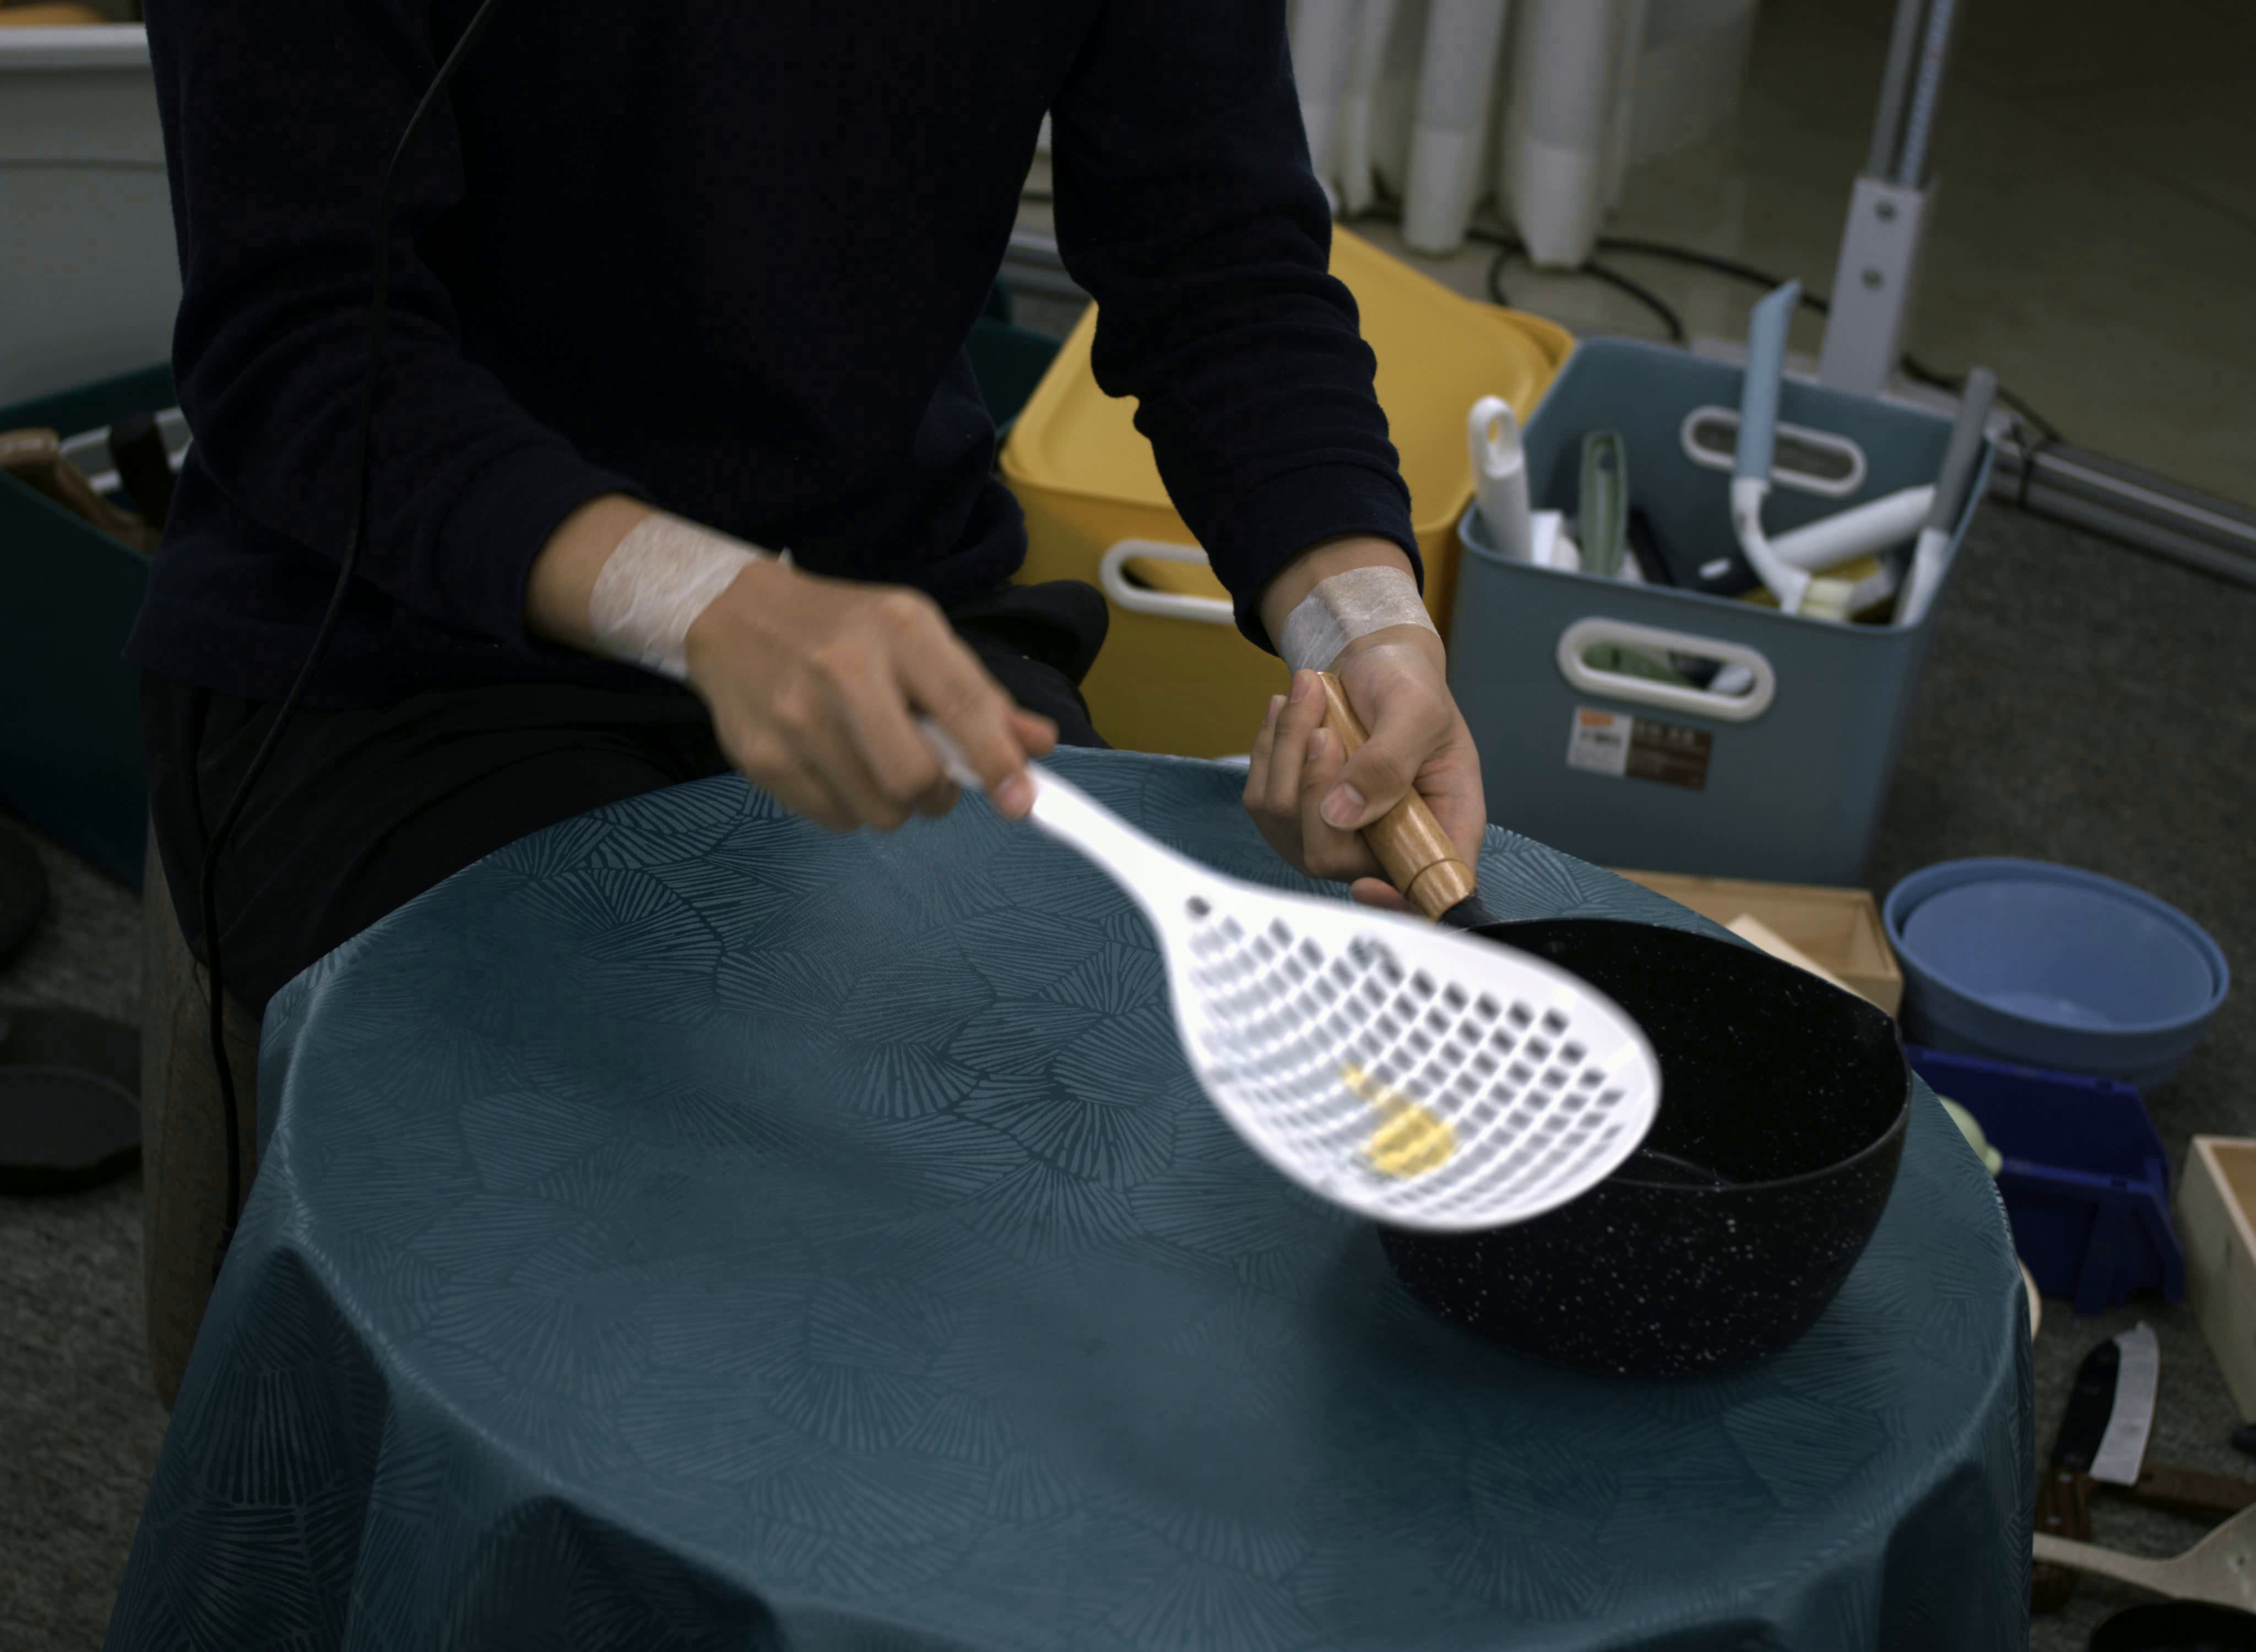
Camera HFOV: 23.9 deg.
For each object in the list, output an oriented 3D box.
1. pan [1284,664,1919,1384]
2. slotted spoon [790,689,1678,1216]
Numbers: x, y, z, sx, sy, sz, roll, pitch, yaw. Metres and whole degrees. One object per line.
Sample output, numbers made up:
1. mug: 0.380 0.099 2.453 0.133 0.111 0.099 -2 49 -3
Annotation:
1. pan: 0.131 0.065 1.830 0.206 0.108 0.346 -8 31 -25
2. slotted spoon: 0.021 0.027 1.715 0.350 0.050 0.136 36 50 28
